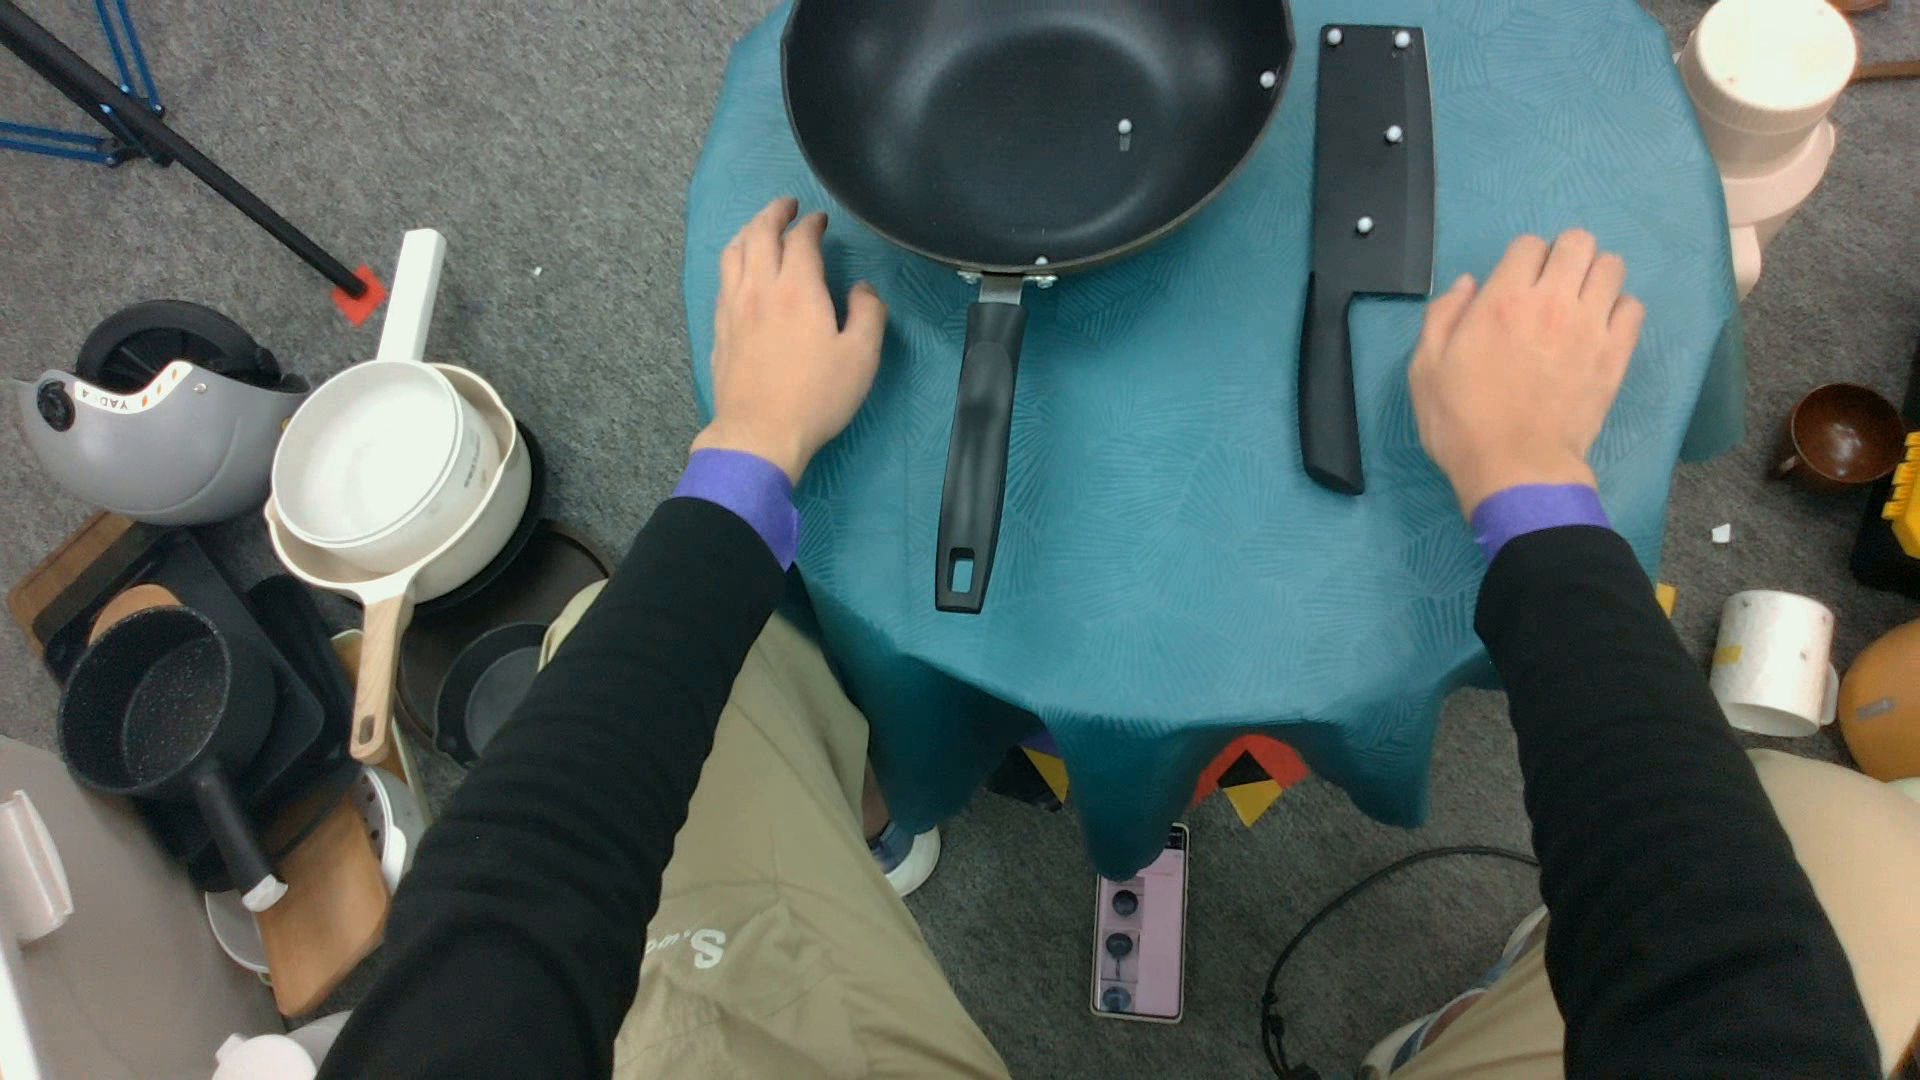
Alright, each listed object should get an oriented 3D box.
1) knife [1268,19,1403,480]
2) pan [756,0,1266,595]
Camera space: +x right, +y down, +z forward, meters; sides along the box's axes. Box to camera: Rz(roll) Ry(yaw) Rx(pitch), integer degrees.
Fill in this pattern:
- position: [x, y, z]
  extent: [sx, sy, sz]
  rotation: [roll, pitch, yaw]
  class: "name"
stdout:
- position: [0.213, -0.176, 0.788]
  extent: [0.081, 0.021, 0.303]
  rotation: [8, 71, 8]
  class: "knife"
- position: [0.018, -0.184, 0.777]
  extent: [0.288, 0.086, 0.464]
  rotation: [5, 73, 8]
  class: "pan"
